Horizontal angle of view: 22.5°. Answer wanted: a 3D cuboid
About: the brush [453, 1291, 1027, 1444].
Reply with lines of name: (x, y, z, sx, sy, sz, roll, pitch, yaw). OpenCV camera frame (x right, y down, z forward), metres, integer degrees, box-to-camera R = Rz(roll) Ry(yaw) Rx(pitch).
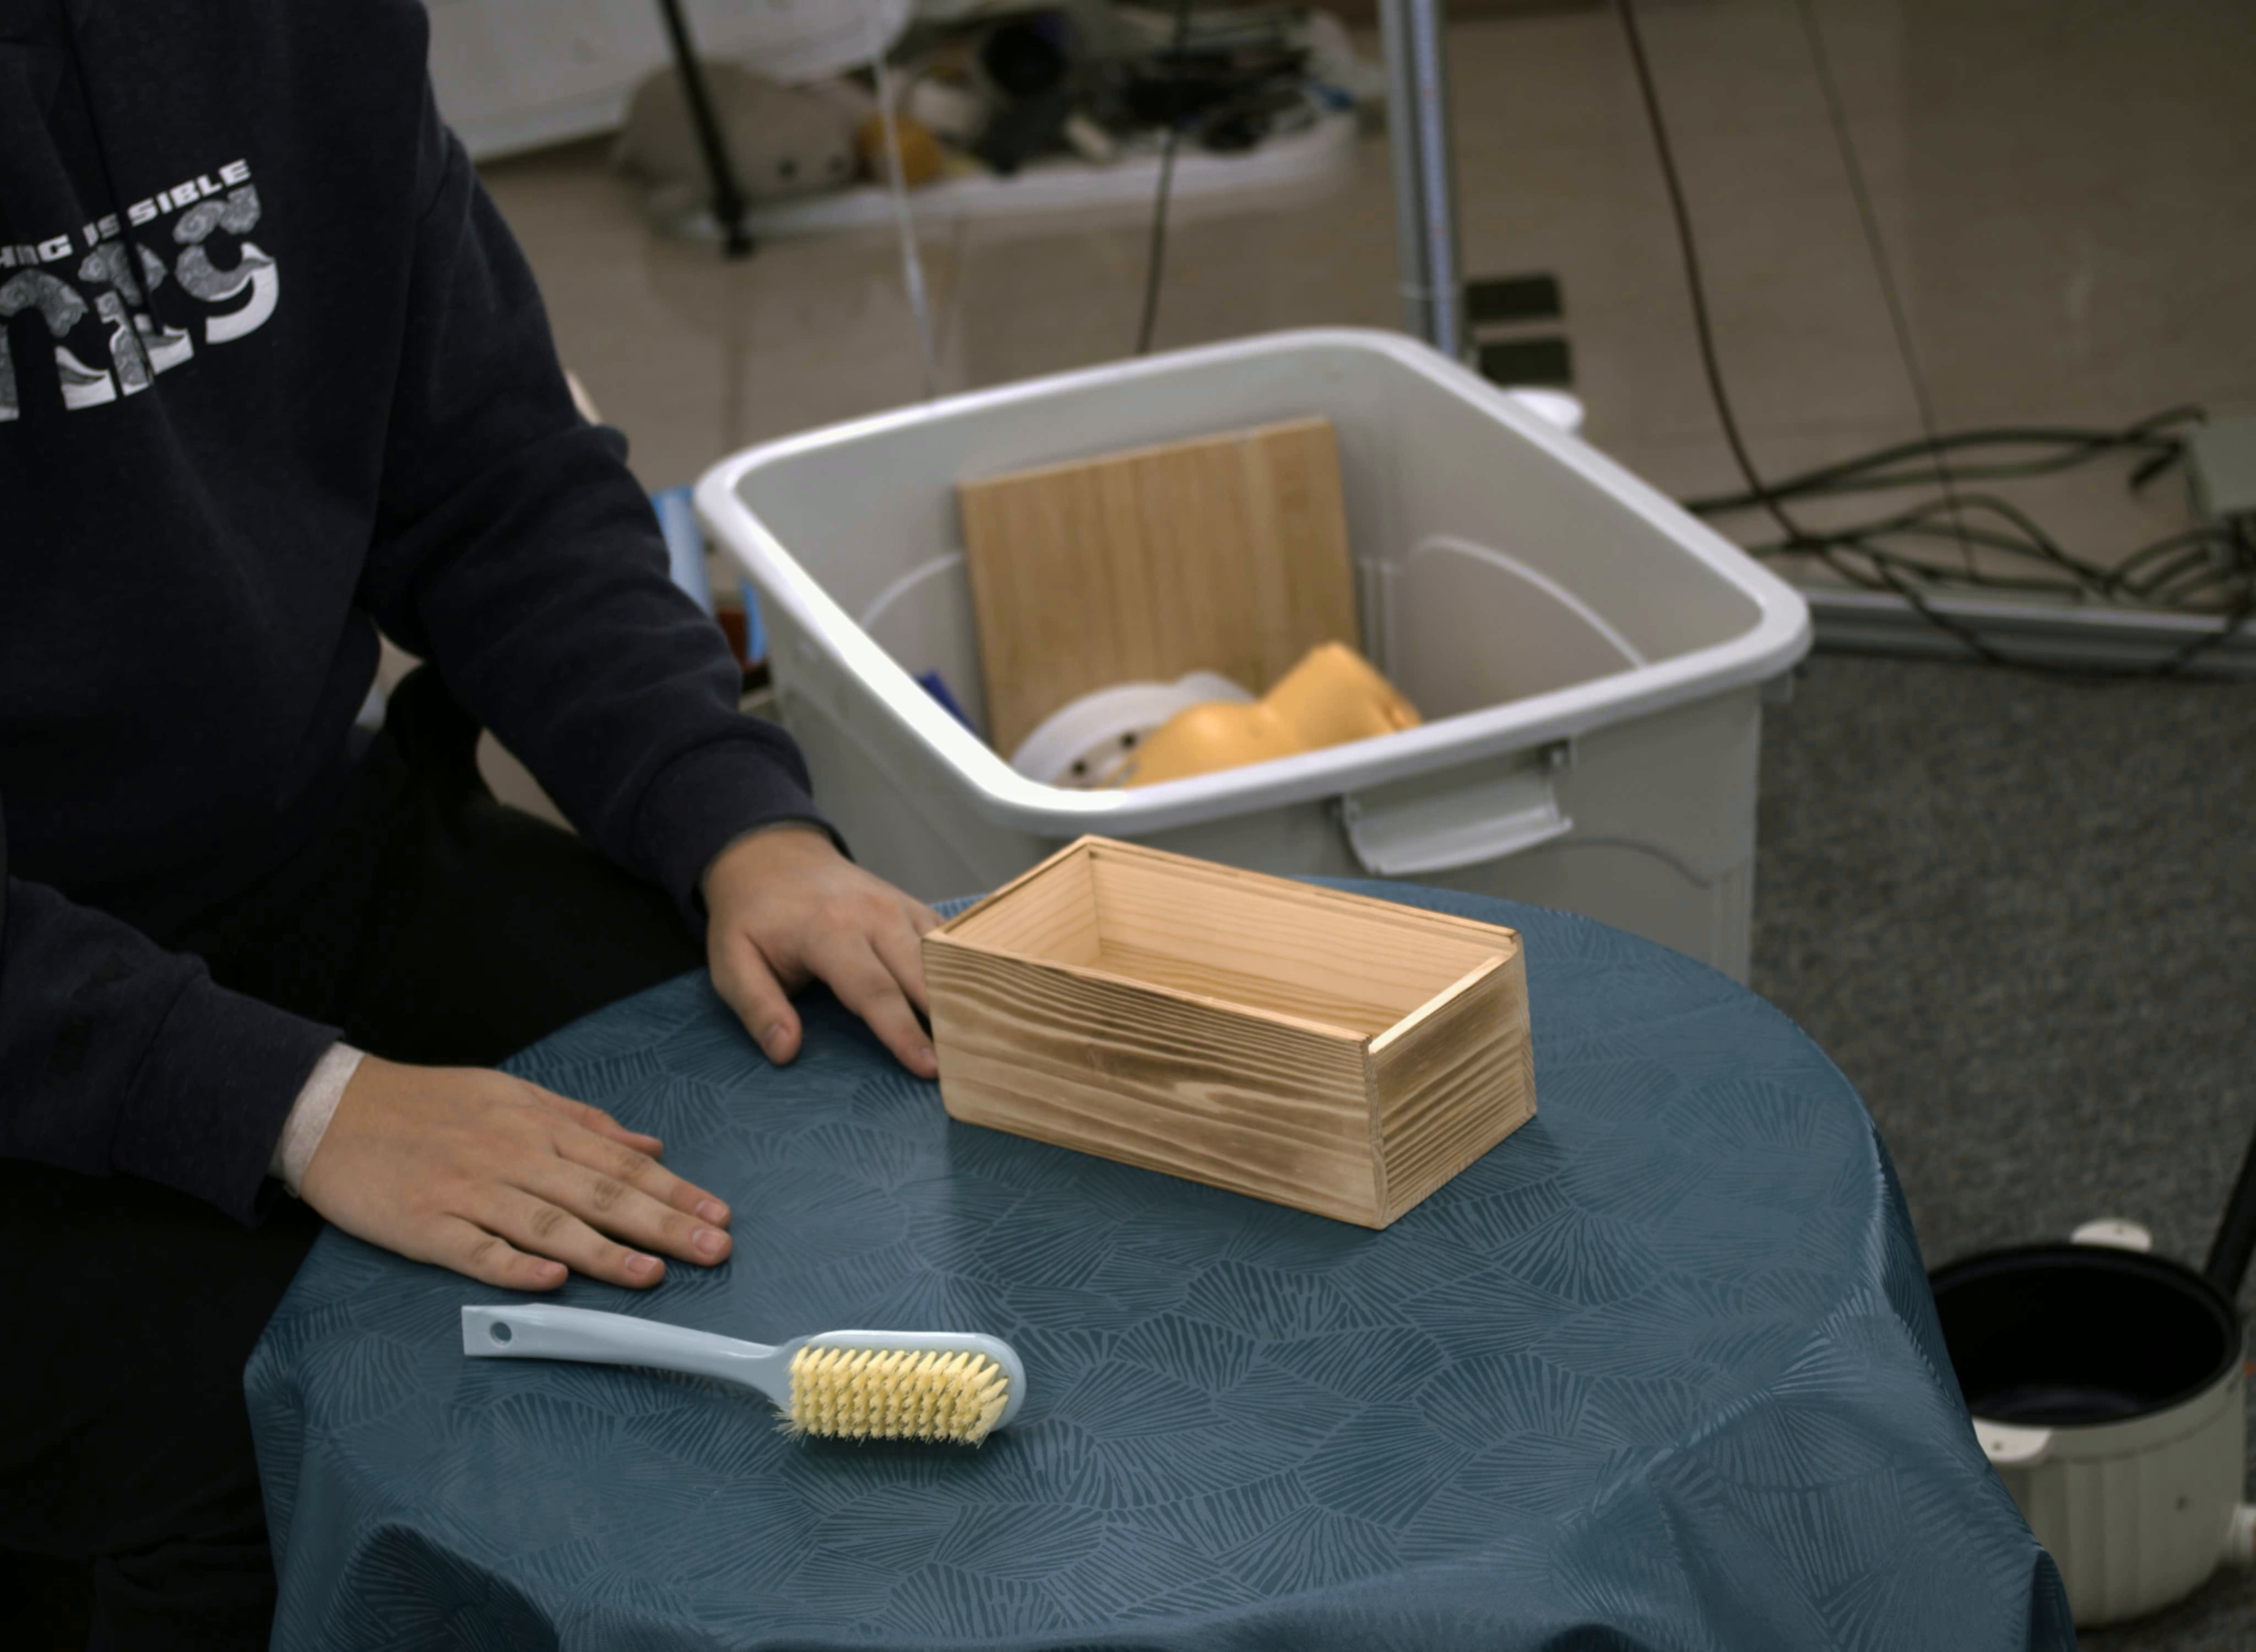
brush: (-0.146, 0.190, 2.025, 0.228, 0.038, 0.049, 7, 21, 26)

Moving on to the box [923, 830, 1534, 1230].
box: (0.038, 0.076, 2.179, 0.210, 0.081, 0.106, 13, 31, 35)
